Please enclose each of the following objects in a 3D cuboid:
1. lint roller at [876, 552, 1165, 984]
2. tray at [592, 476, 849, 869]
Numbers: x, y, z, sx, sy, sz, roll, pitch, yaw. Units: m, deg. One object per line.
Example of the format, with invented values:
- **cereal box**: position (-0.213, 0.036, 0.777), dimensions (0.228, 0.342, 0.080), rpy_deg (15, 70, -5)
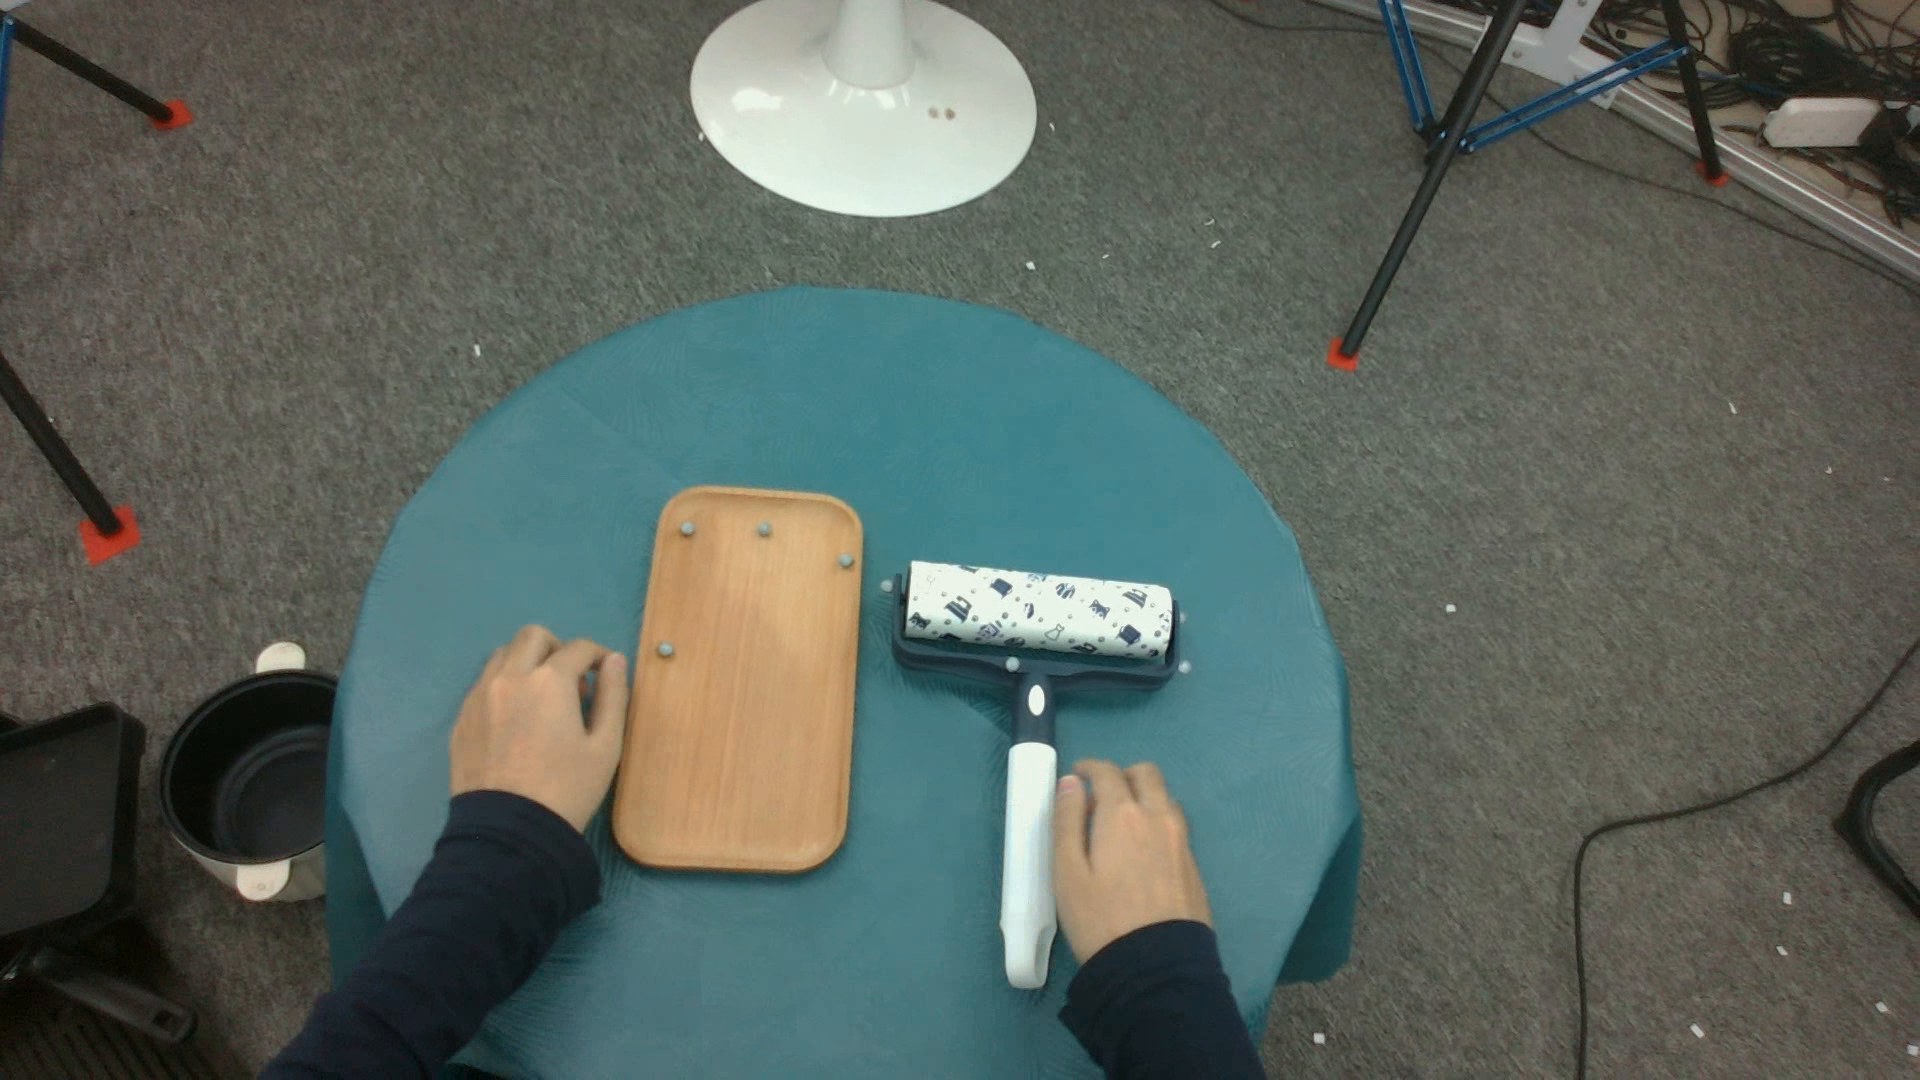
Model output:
- **lint roller**: position (0.035, 0.125, 0.788), dimensions (0.176, 0.050, 0.248), rpy_deg (6, 59, -7)
- **tray**: position (-0.135, 0.071, 0.809), dimensions (0.130, 0.023, 0.252), rpy_deg (4, 57, -4)
